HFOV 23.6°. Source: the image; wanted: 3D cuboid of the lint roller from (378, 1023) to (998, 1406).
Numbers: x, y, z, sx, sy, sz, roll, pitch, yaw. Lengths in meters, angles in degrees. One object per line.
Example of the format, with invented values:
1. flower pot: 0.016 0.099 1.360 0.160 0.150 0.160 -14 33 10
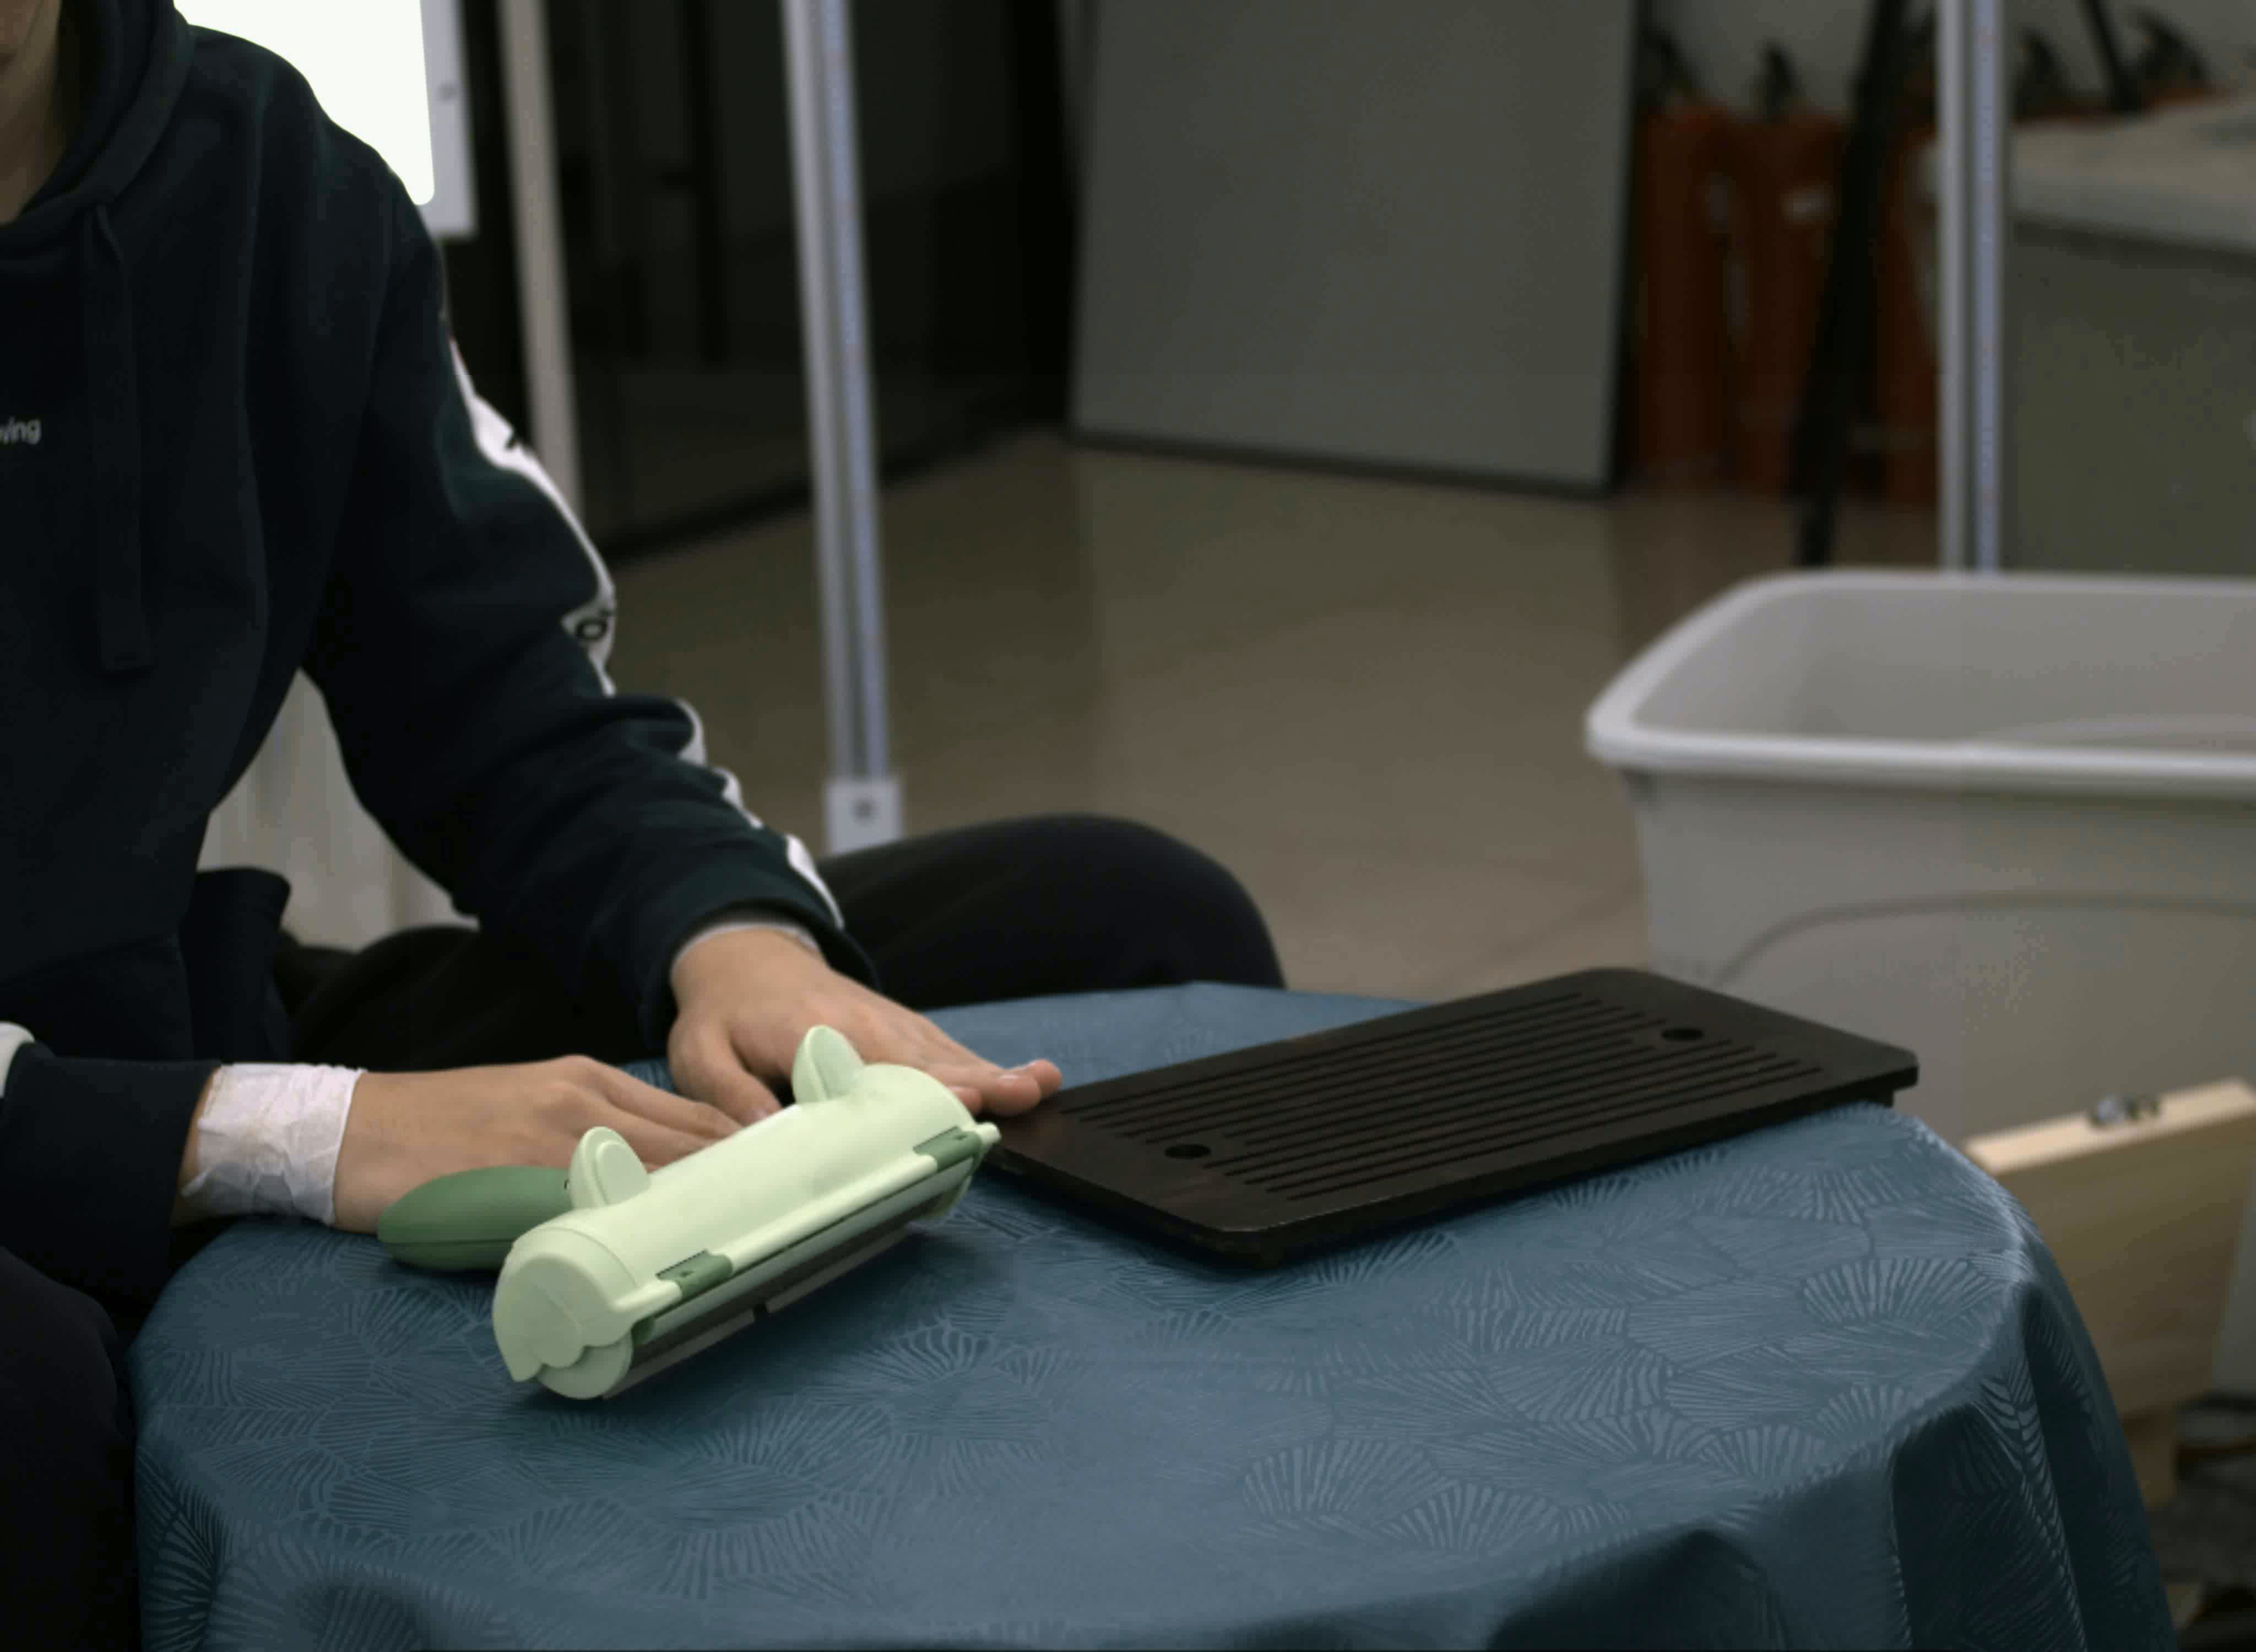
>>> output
1. lint roller: -0.165 0.110 1.697 0.184 0.083 0.195 9 19 32

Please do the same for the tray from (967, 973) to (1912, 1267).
1. tray: 0.104 0.097 1.819 0.299 0.019 0.172 -11 16 -33
